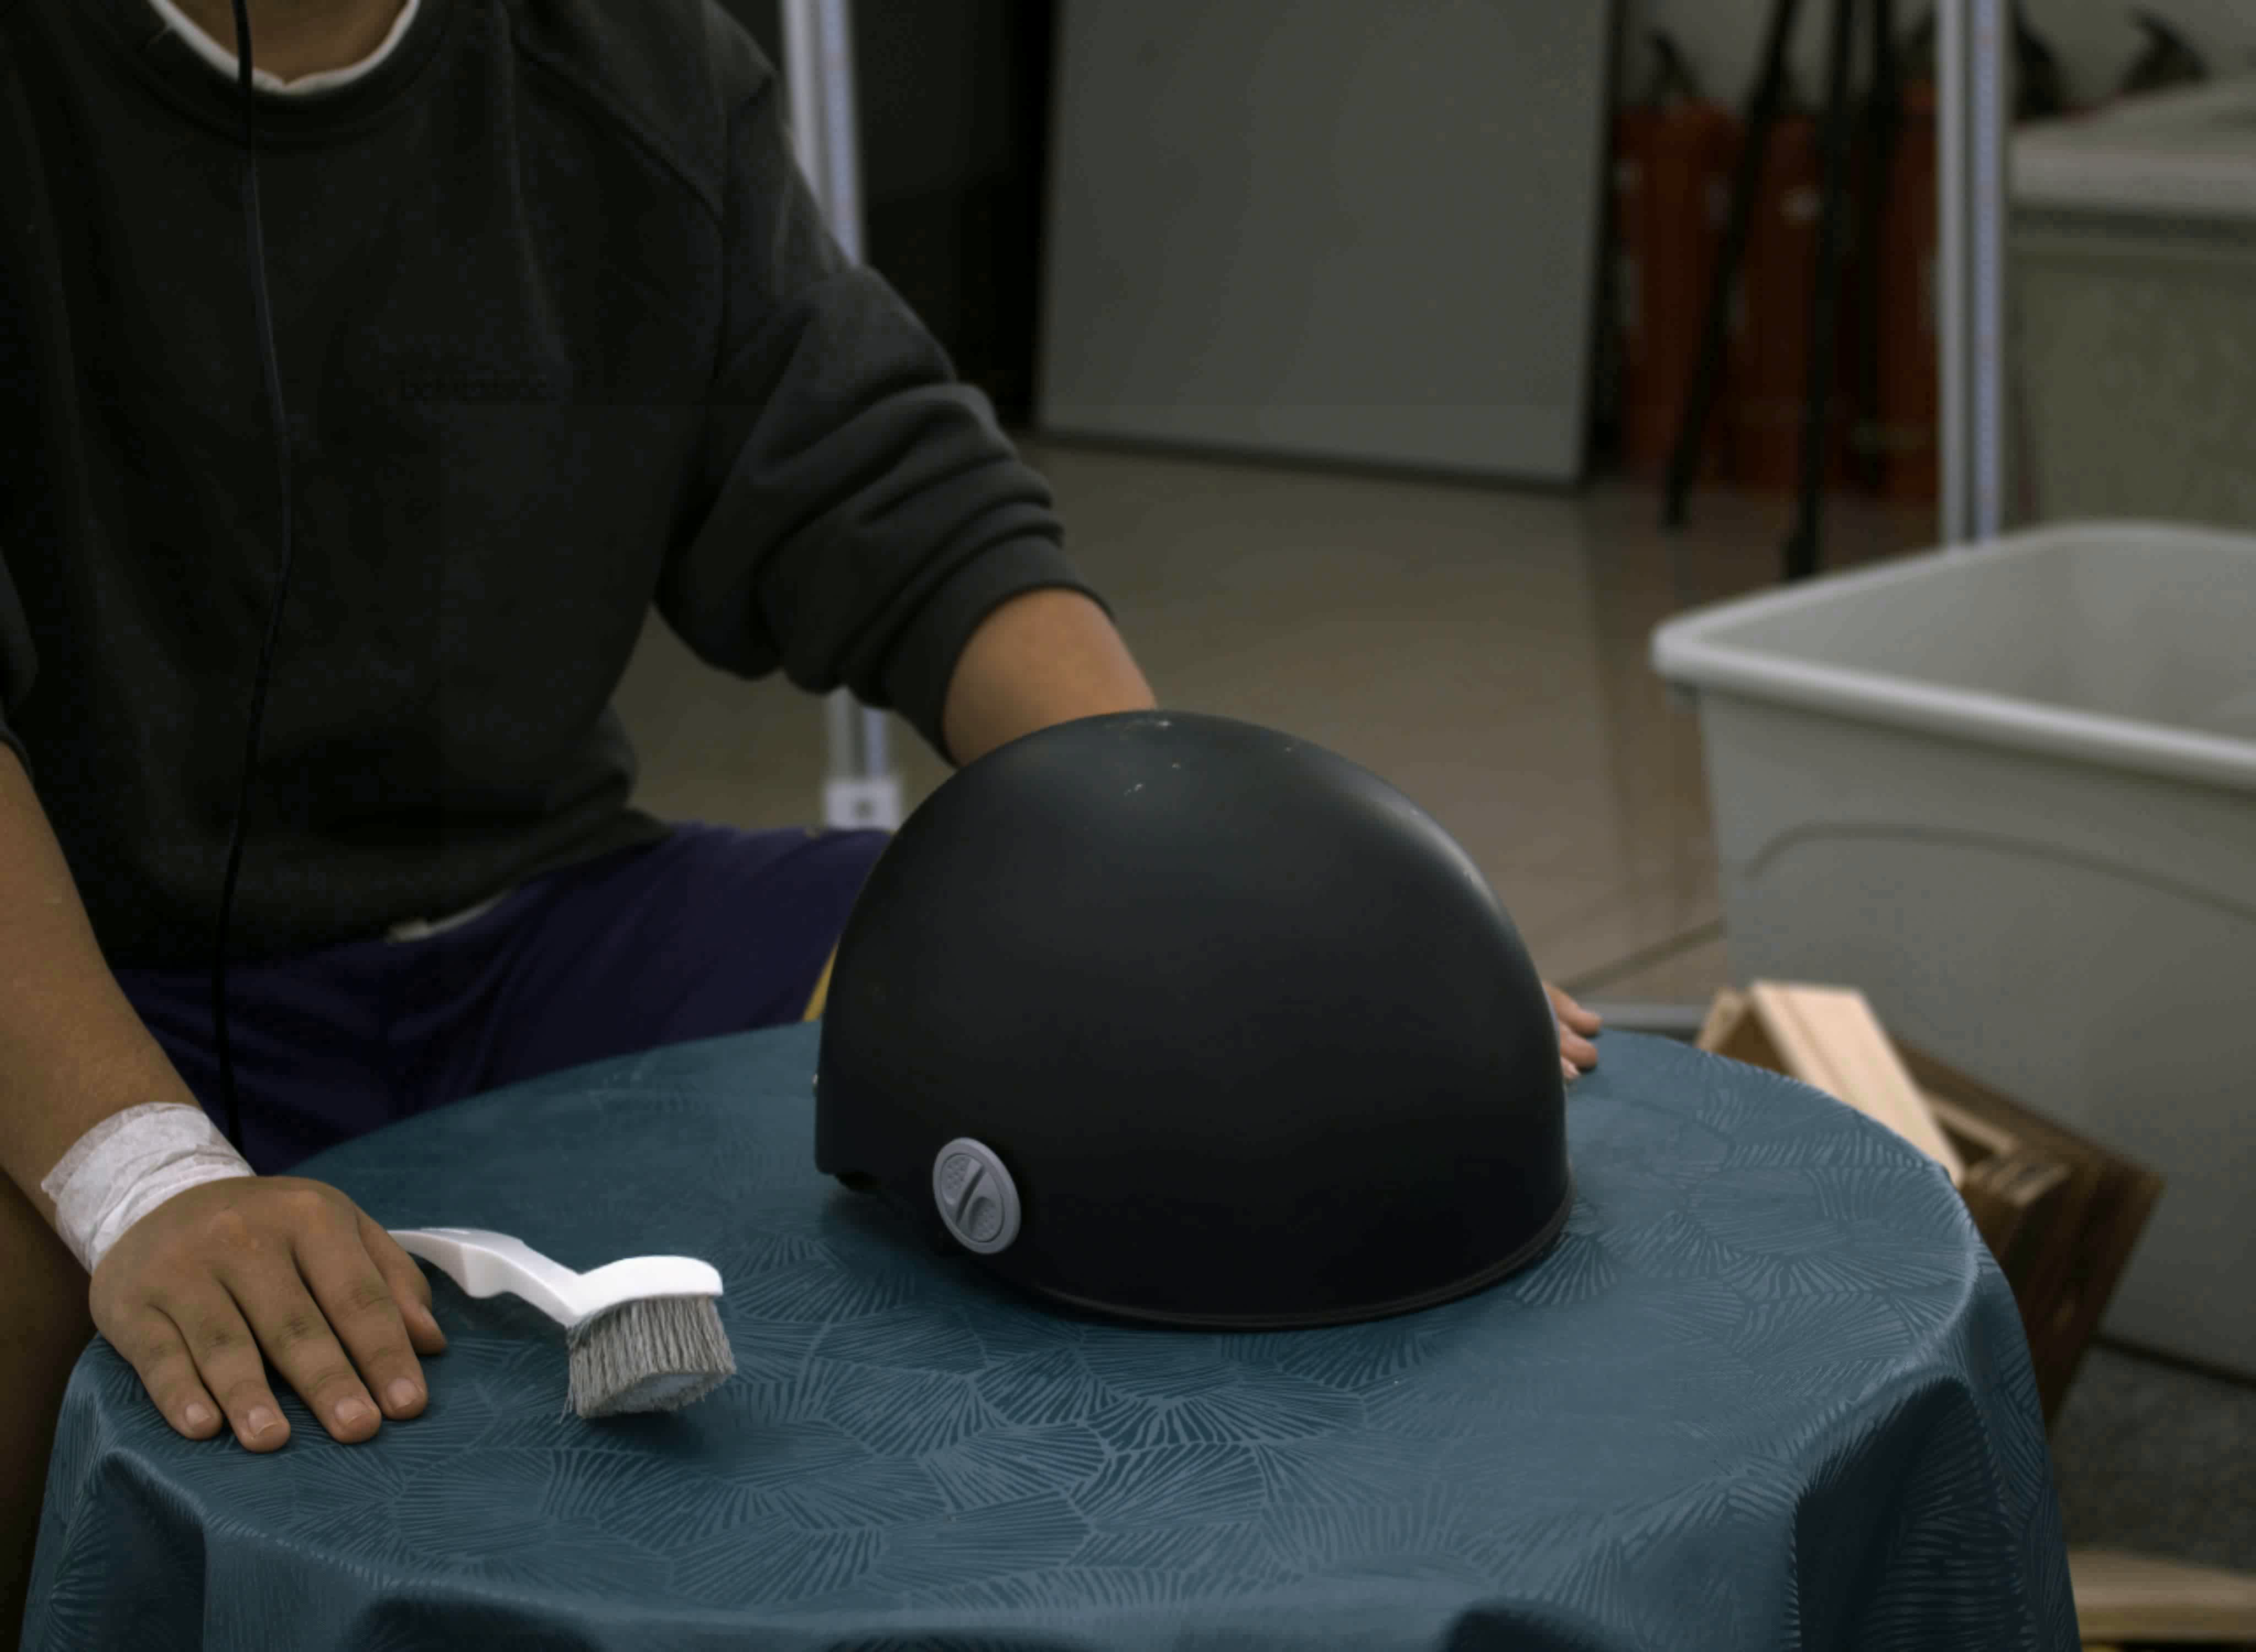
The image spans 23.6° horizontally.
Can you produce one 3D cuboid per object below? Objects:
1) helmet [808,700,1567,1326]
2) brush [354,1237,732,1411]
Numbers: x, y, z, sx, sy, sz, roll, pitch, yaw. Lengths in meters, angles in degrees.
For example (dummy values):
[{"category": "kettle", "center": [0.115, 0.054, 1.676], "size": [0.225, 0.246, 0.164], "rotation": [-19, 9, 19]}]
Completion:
[{"category": "helmet", "center": [0.016, 0.049, 1.728], "size": [0.225, 0.168, 0.276], "rotation": [-14, 19, -28]}, {"category": "brush", "center": [-0.183, 0.151, 1.650], "size": [0.033, 0.051, 0.246], "rotation": [-1, -3, -29]}]
